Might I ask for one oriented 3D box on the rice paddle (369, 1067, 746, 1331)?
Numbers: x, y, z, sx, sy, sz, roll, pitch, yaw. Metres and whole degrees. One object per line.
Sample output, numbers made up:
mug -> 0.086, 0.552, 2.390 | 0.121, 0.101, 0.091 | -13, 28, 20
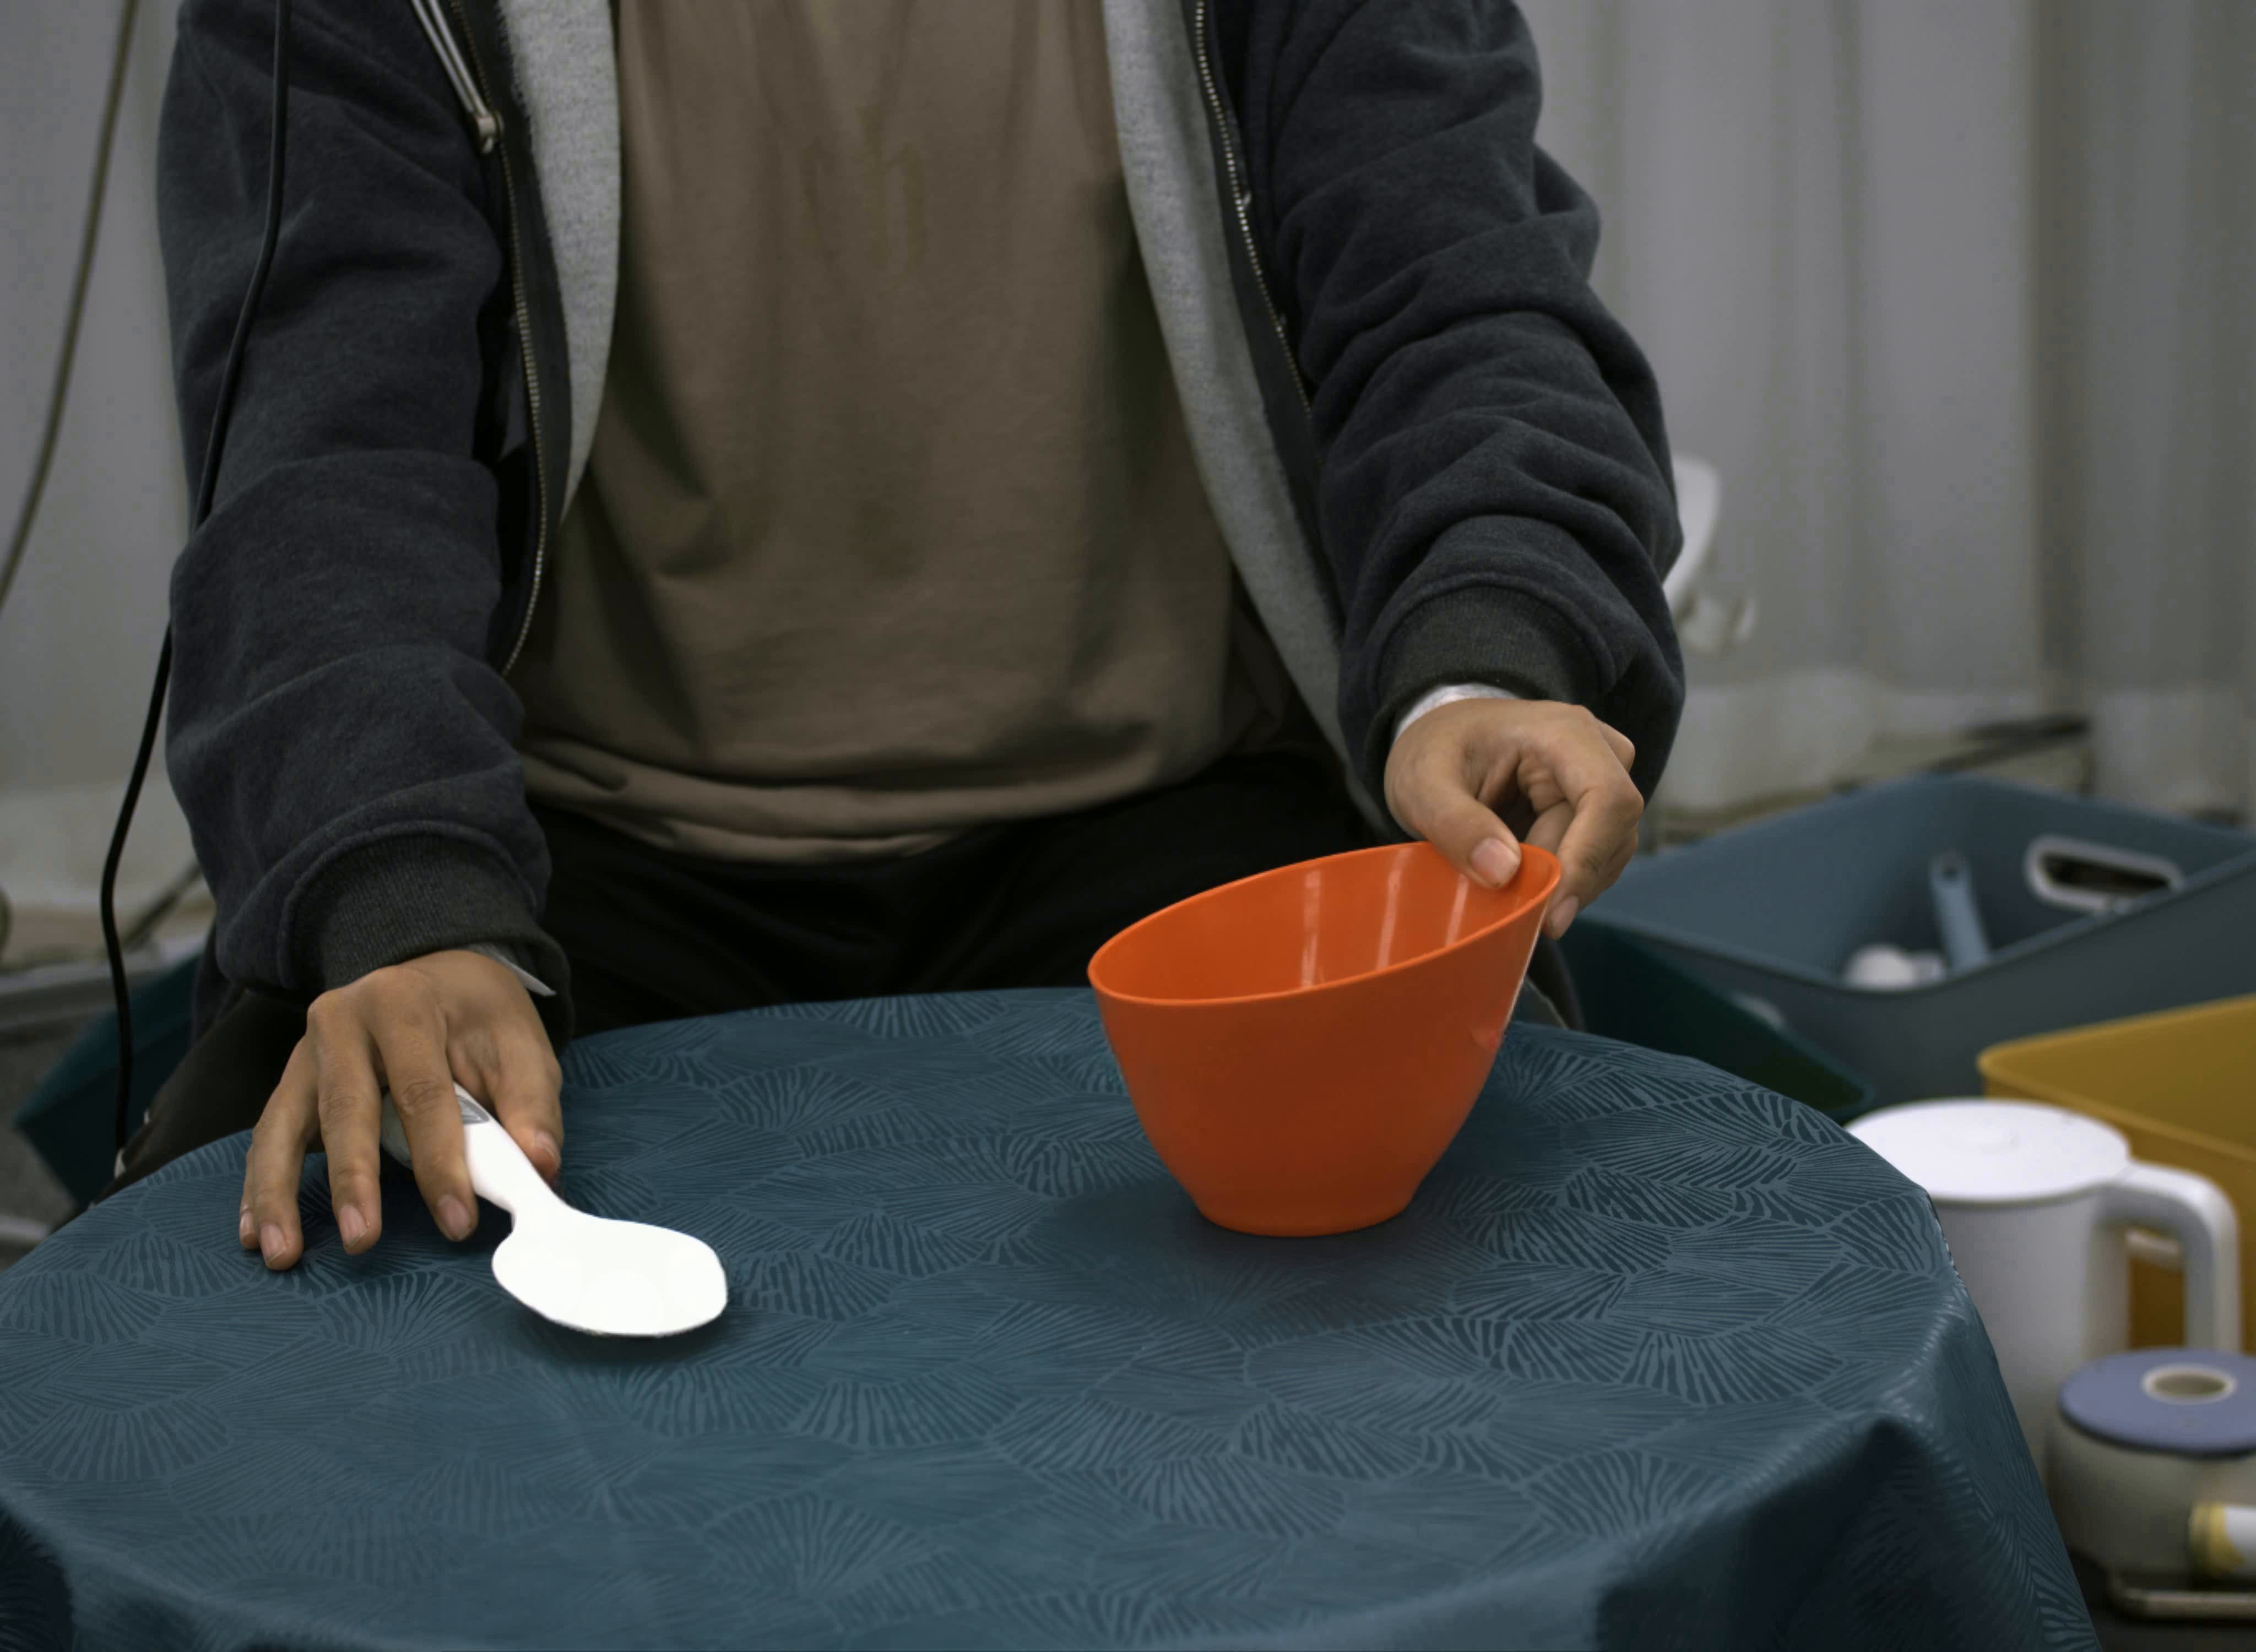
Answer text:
rice paddle -> -0.179, 0.116, 1.673 | 0.068, 0.029, 0.207 | -10, 19, -28

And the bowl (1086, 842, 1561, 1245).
bowl -> 0.062, 0.069, 1.680 | 0.147, 0.104, 0.149 | -4, 15, 1
